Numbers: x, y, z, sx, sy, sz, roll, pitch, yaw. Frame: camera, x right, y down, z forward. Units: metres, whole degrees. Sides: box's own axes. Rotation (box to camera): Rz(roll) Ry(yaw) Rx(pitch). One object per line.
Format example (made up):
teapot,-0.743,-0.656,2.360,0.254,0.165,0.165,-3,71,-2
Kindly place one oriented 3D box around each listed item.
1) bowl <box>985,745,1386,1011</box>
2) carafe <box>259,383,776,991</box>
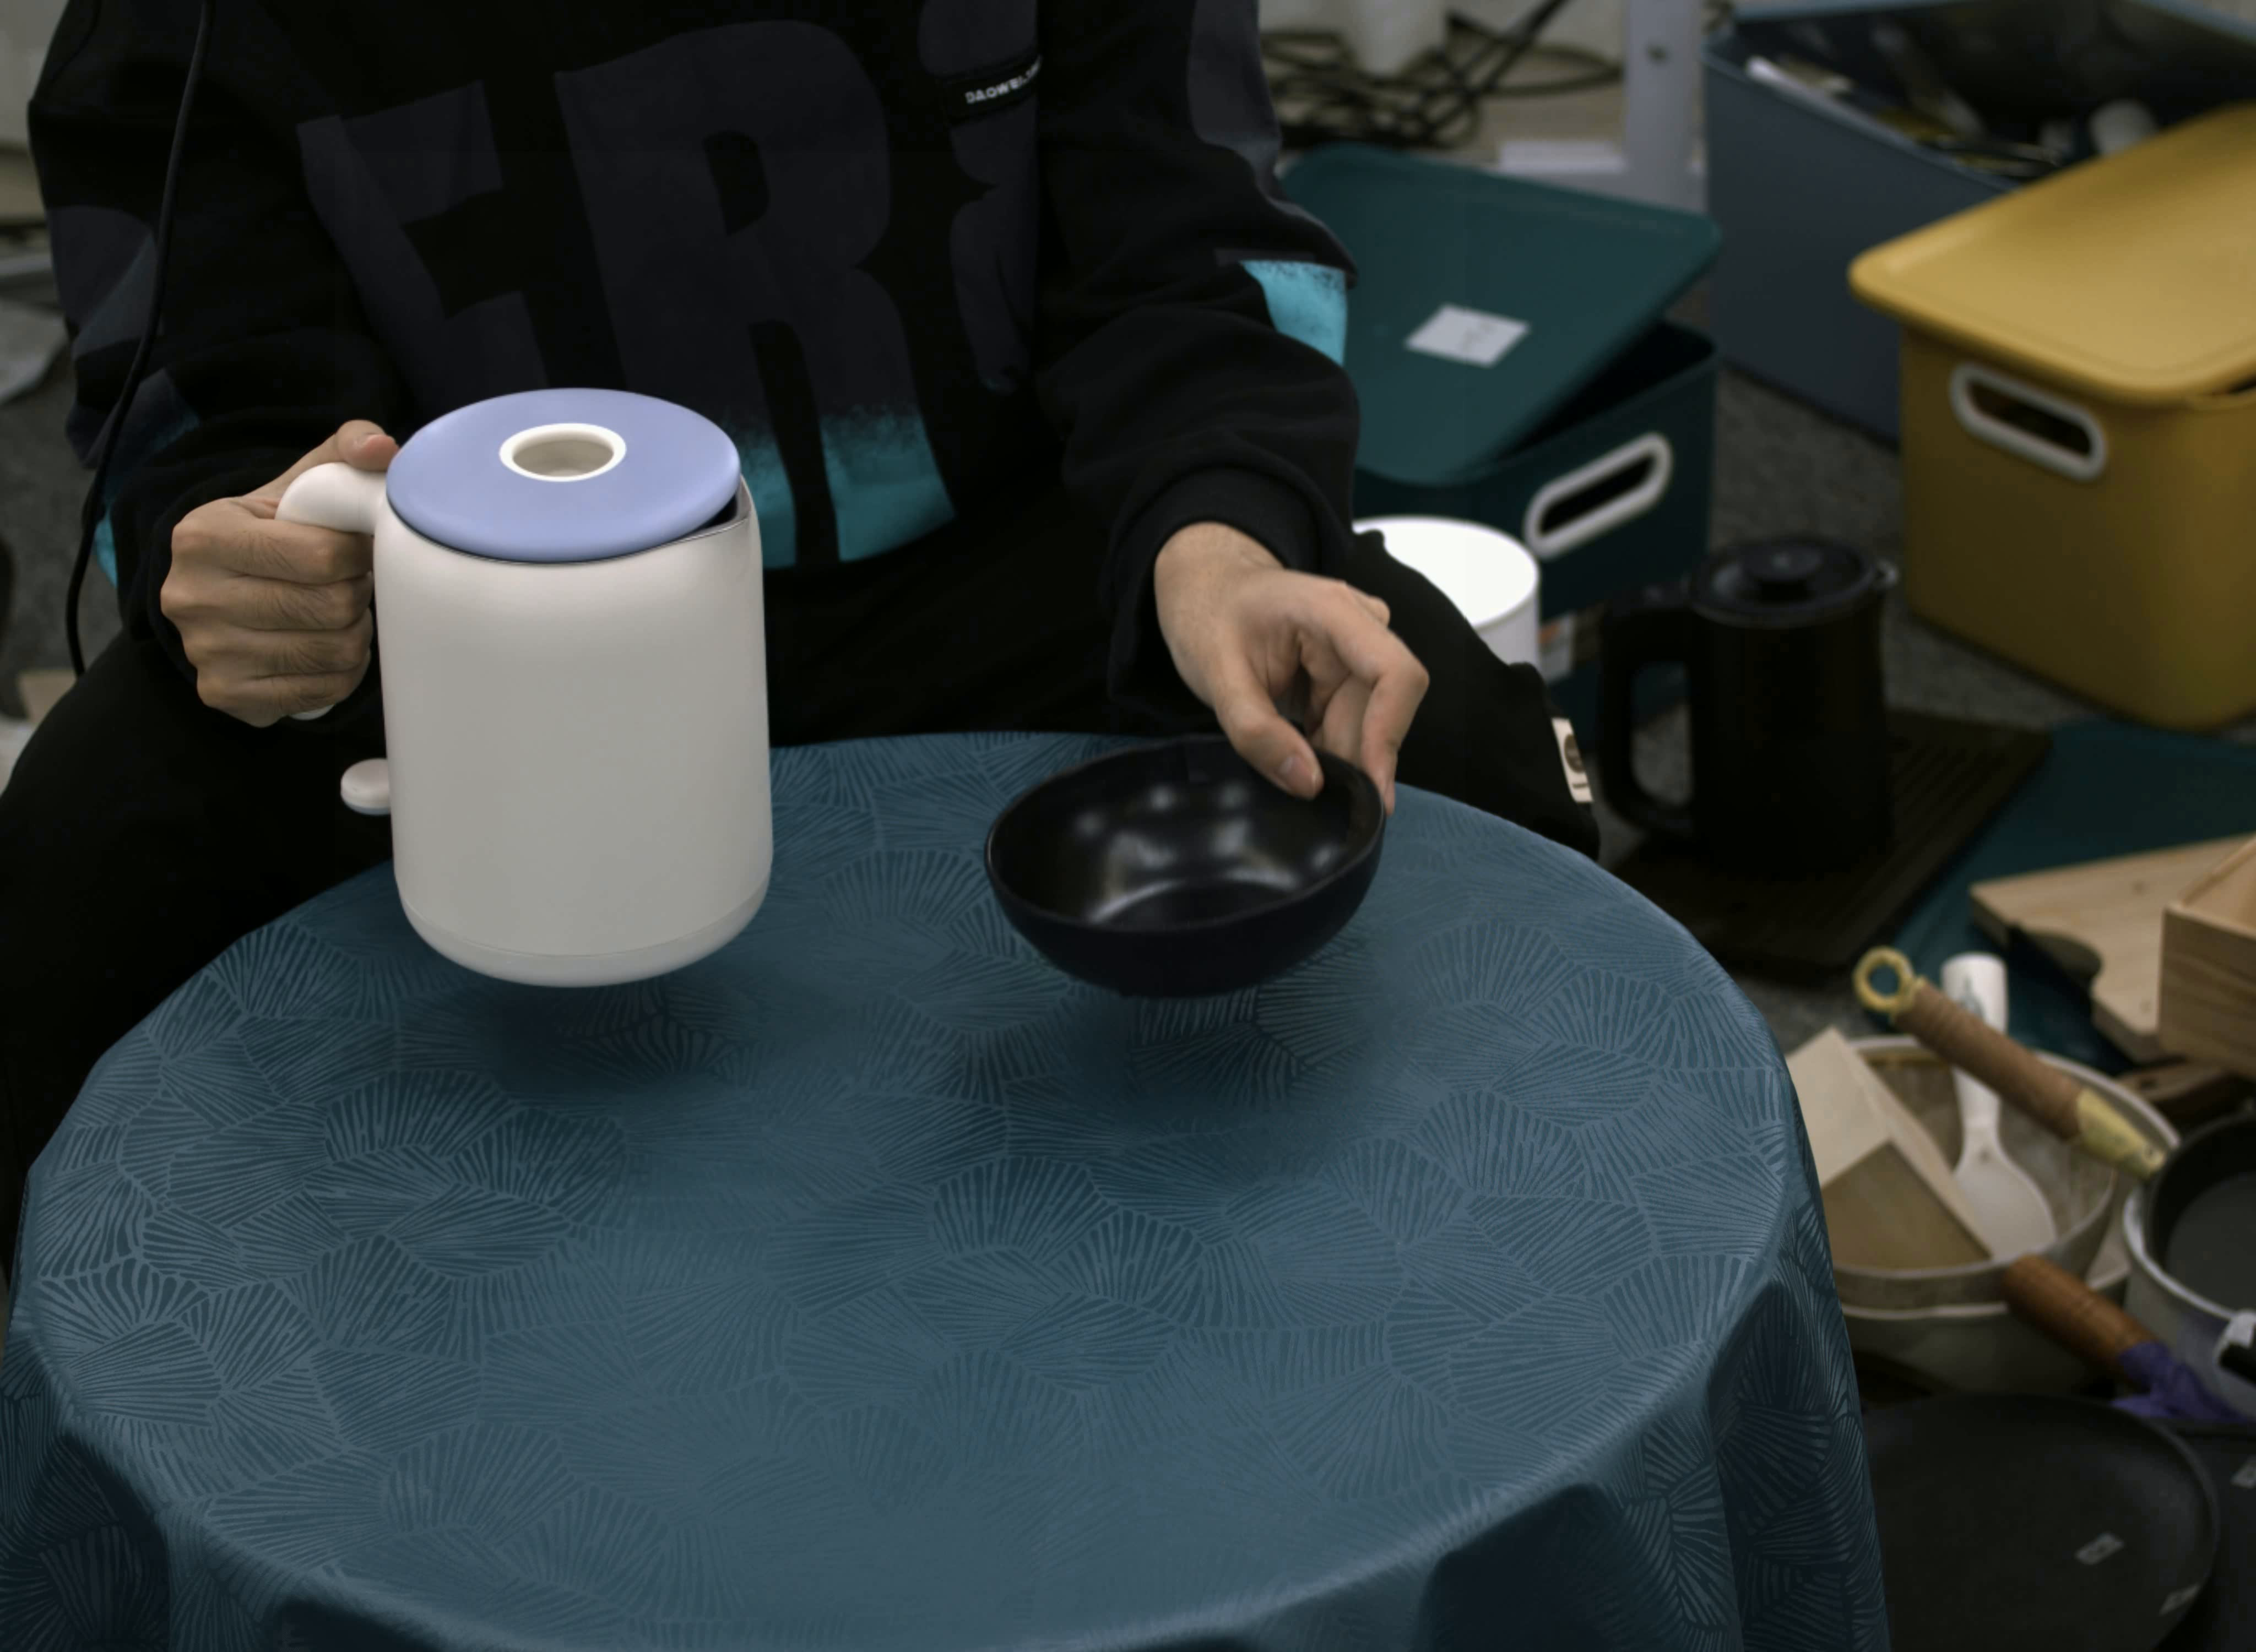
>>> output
bowl,0.023,0.025,1.925,0.139,0.049,0.142,-7,26,4
carafe,-0.210,-0.051,1.919,0.190,0.180,0.134,9,29,20
